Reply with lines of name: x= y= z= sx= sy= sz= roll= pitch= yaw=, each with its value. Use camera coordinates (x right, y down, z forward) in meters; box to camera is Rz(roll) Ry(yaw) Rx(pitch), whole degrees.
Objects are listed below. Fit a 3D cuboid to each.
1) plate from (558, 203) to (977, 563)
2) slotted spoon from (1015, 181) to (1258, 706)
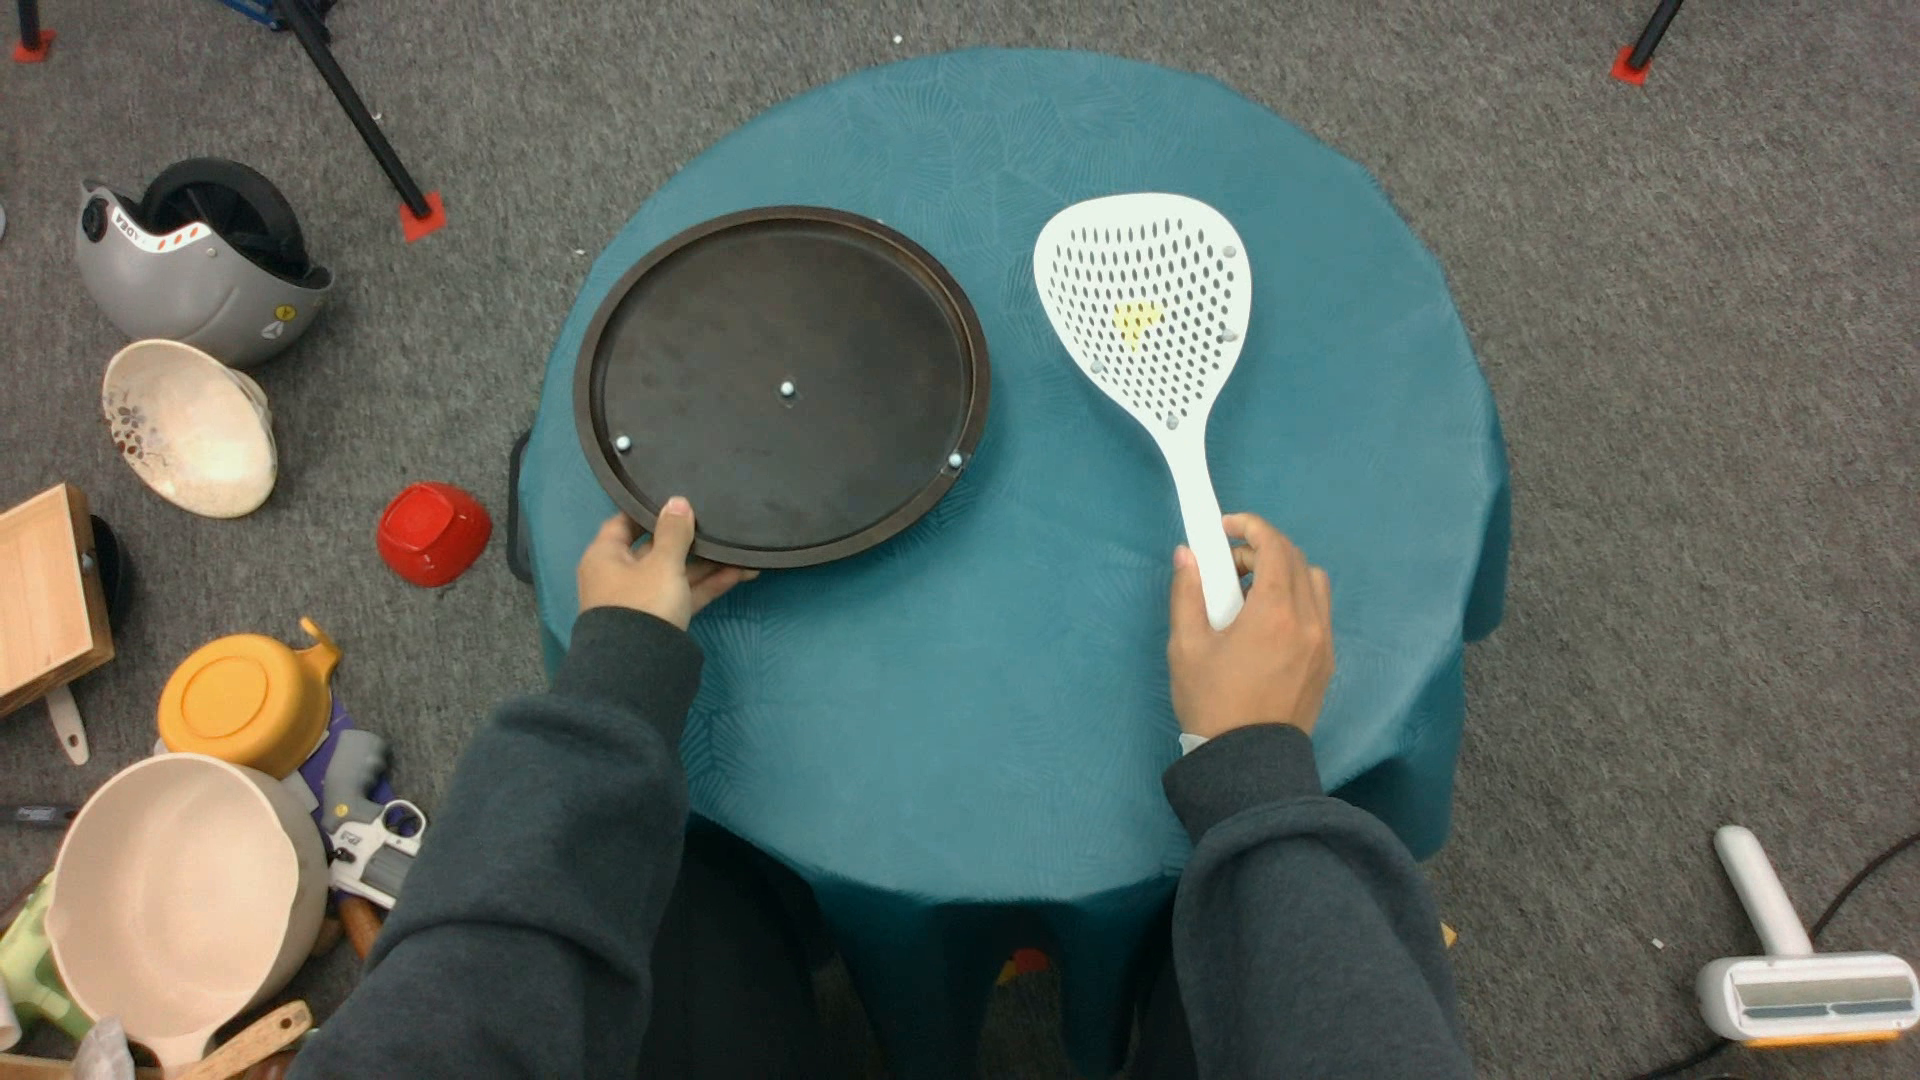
plate: x=-0.116 y=-0.100 z=0.841 sx=0.255 sy=0.029 sz=0.255 roll=1 pitch=65 yaw=-2
slotted spoon: x=0.121 y=-0.069 z=0.819 sx=0.137 sy=0.050 sz=0.349 roll=-7 pitch=61 yaw=-9
